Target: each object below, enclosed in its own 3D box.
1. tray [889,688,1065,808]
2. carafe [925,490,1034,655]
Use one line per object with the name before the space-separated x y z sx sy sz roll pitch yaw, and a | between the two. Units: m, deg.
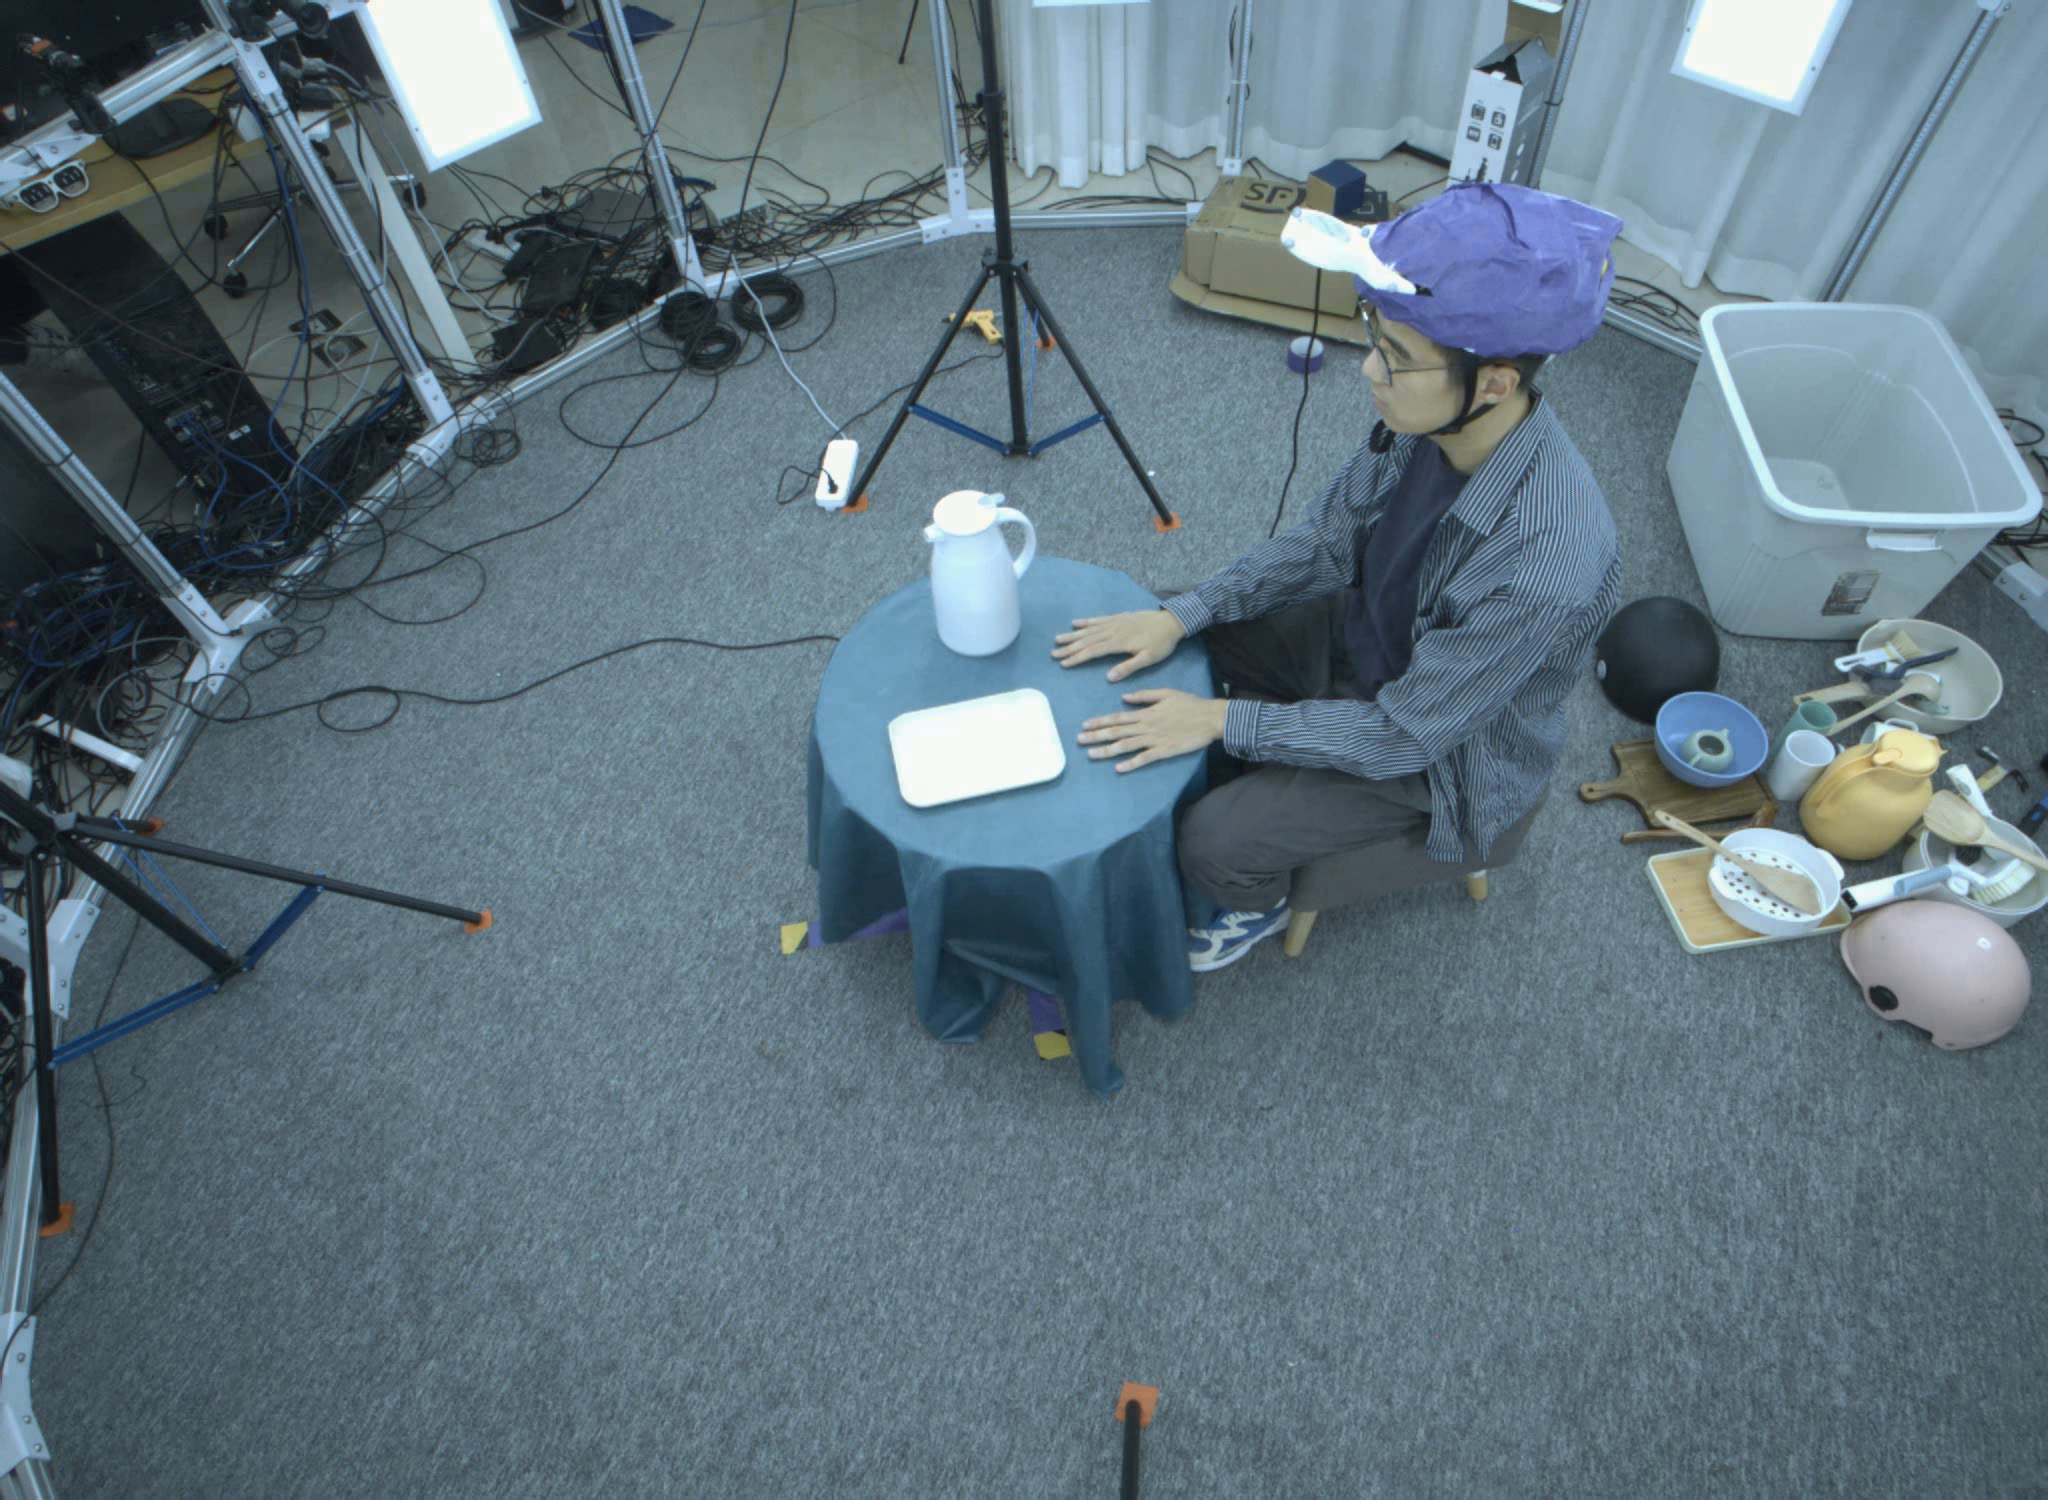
tray | -0.070 -0.003 1.785 0.241 0.017 0.168 -12 56 -7
carafe | -0.062 -0.280 1.837 0.169 0.251 0.130 -26 56 -16
